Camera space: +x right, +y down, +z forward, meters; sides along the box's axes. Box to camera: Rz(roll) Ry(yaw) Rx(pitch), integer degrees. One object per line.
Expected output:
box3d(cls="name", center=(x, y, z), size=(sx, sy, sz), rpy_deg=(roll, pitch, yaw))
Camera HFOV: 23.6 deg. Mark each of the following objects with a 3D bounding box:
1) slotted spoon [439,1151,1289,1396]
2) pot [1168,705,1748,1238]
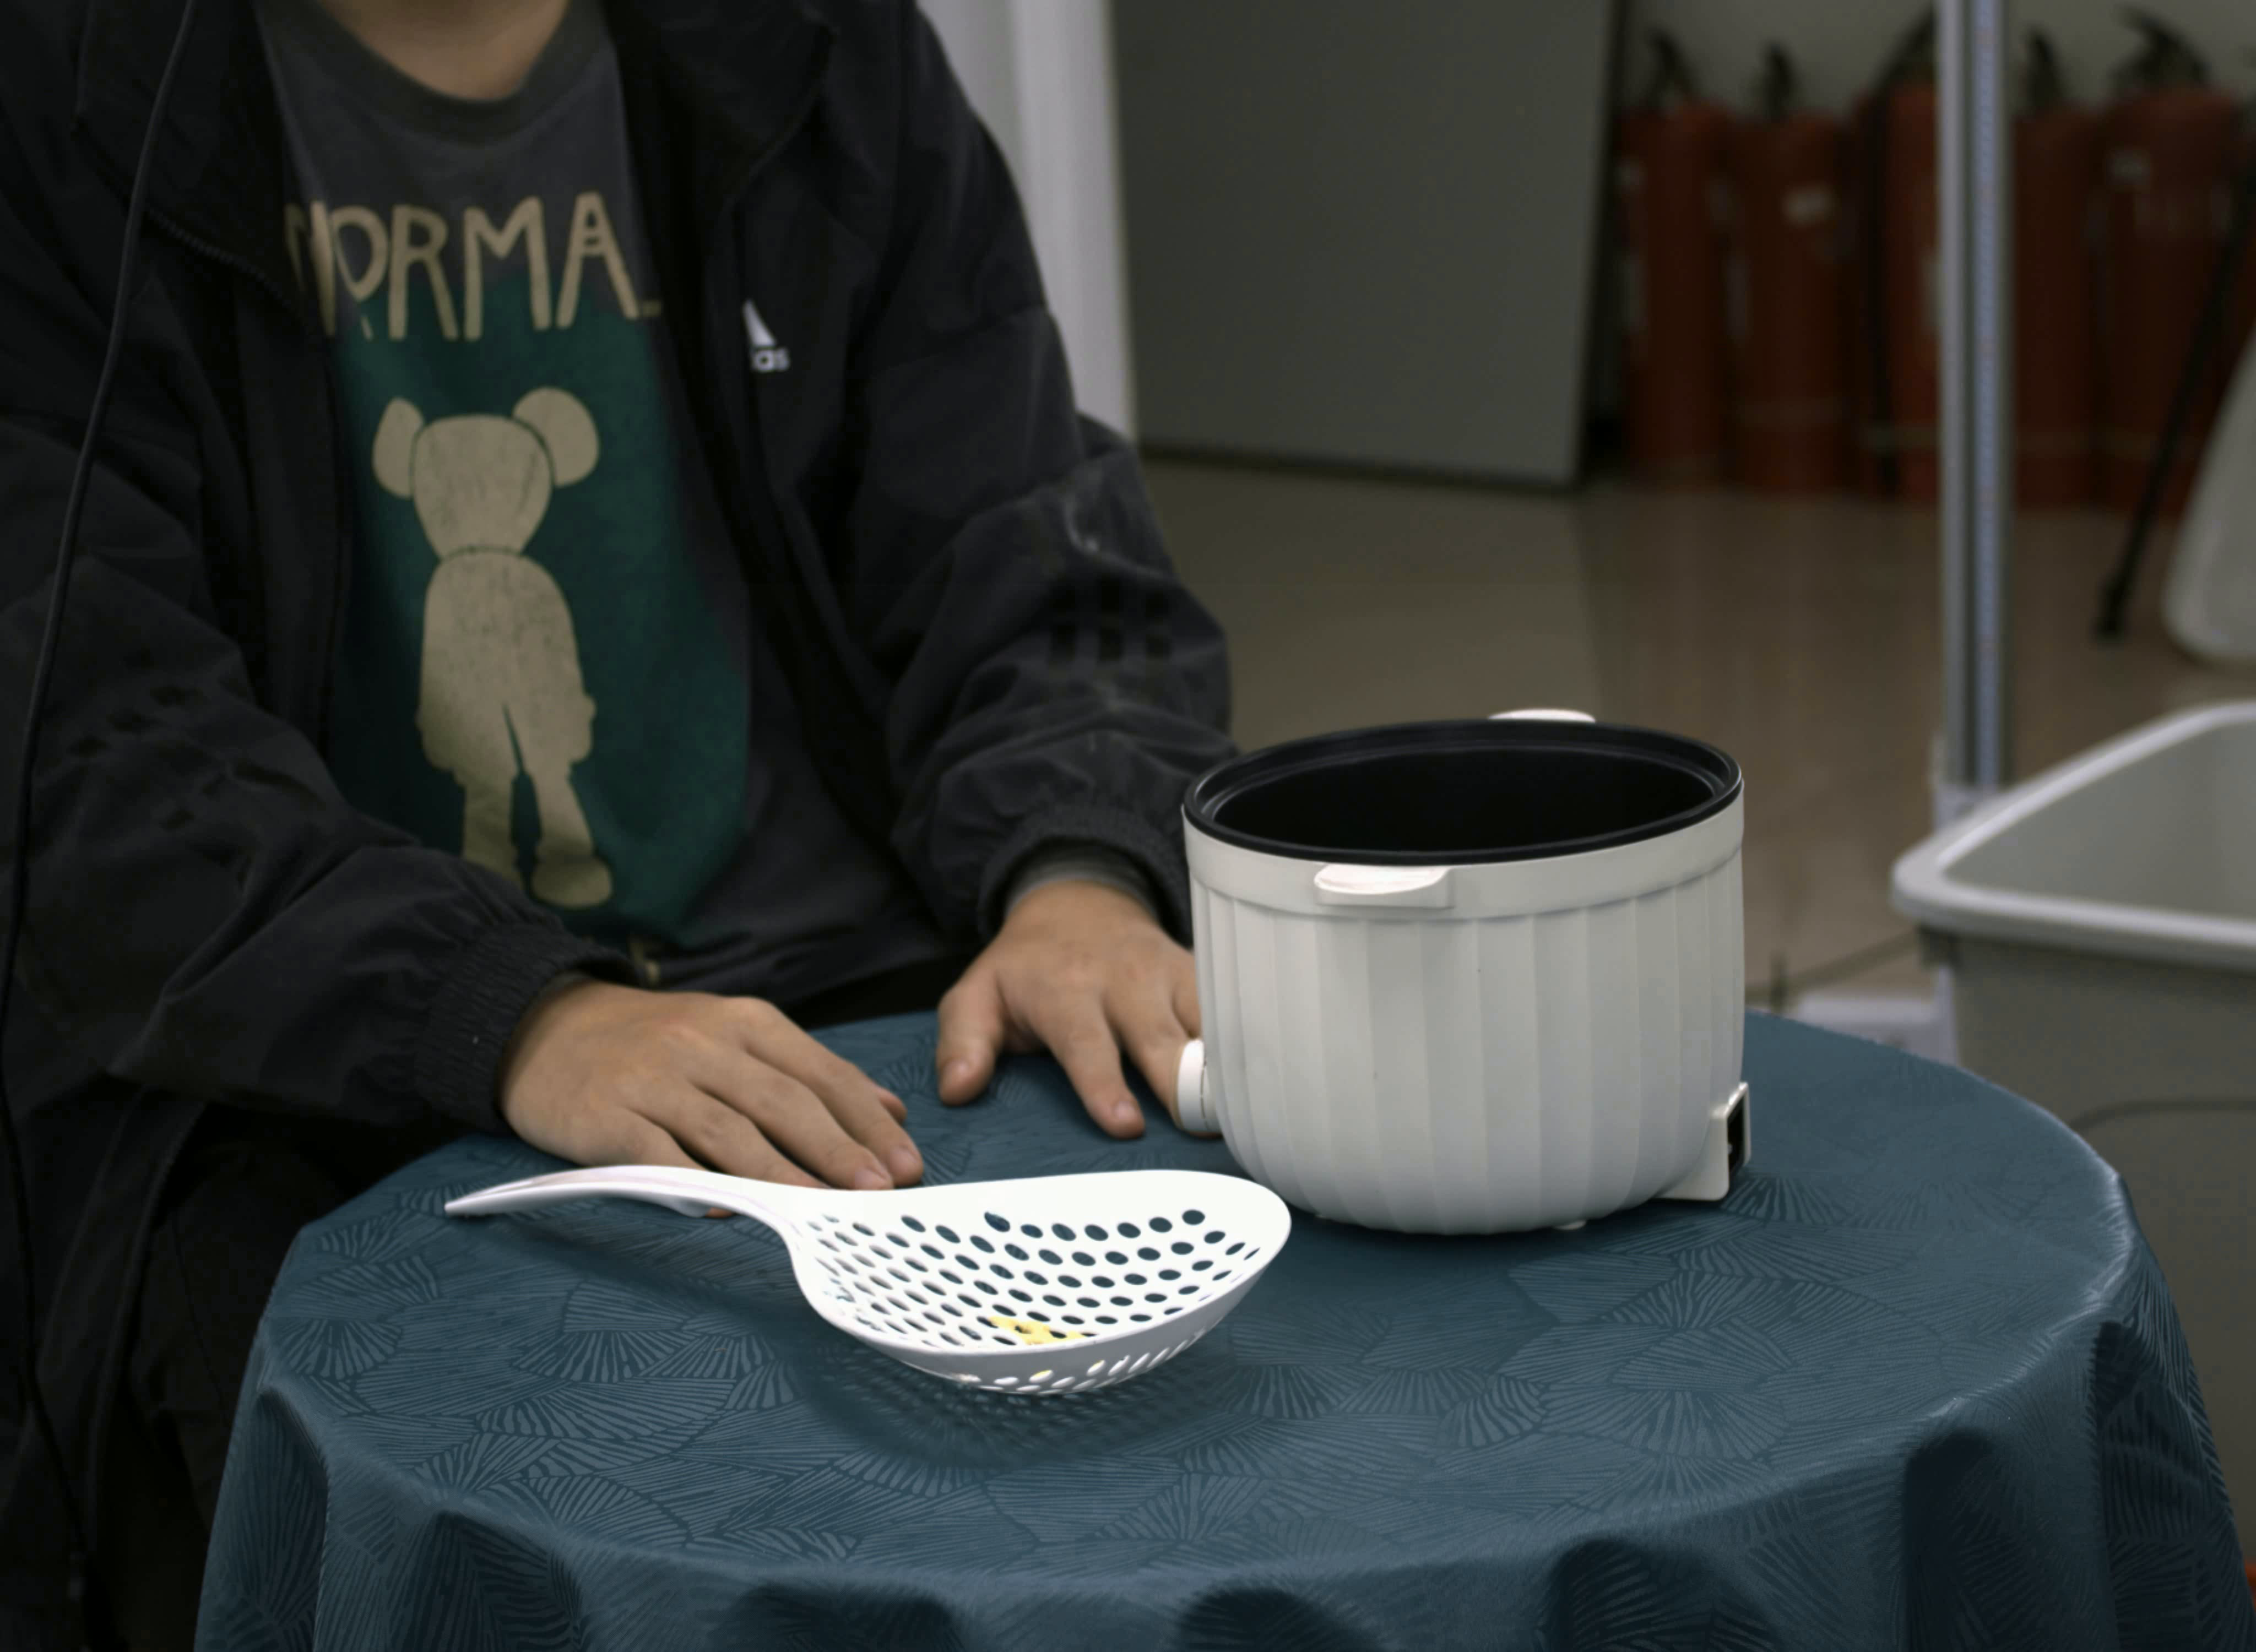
box3d(cls="slotted spoon", center=(-0.096, 0.130, 1.674), size=(0.351, 0.051, 0.134), rpy_deg=(9, 27, 43))
box3d(cls="pot", center=(0.105, 0.050, 1.742), size=(0.190, 0.144, 0.238), rpy_deg=(3, 14, 18))
